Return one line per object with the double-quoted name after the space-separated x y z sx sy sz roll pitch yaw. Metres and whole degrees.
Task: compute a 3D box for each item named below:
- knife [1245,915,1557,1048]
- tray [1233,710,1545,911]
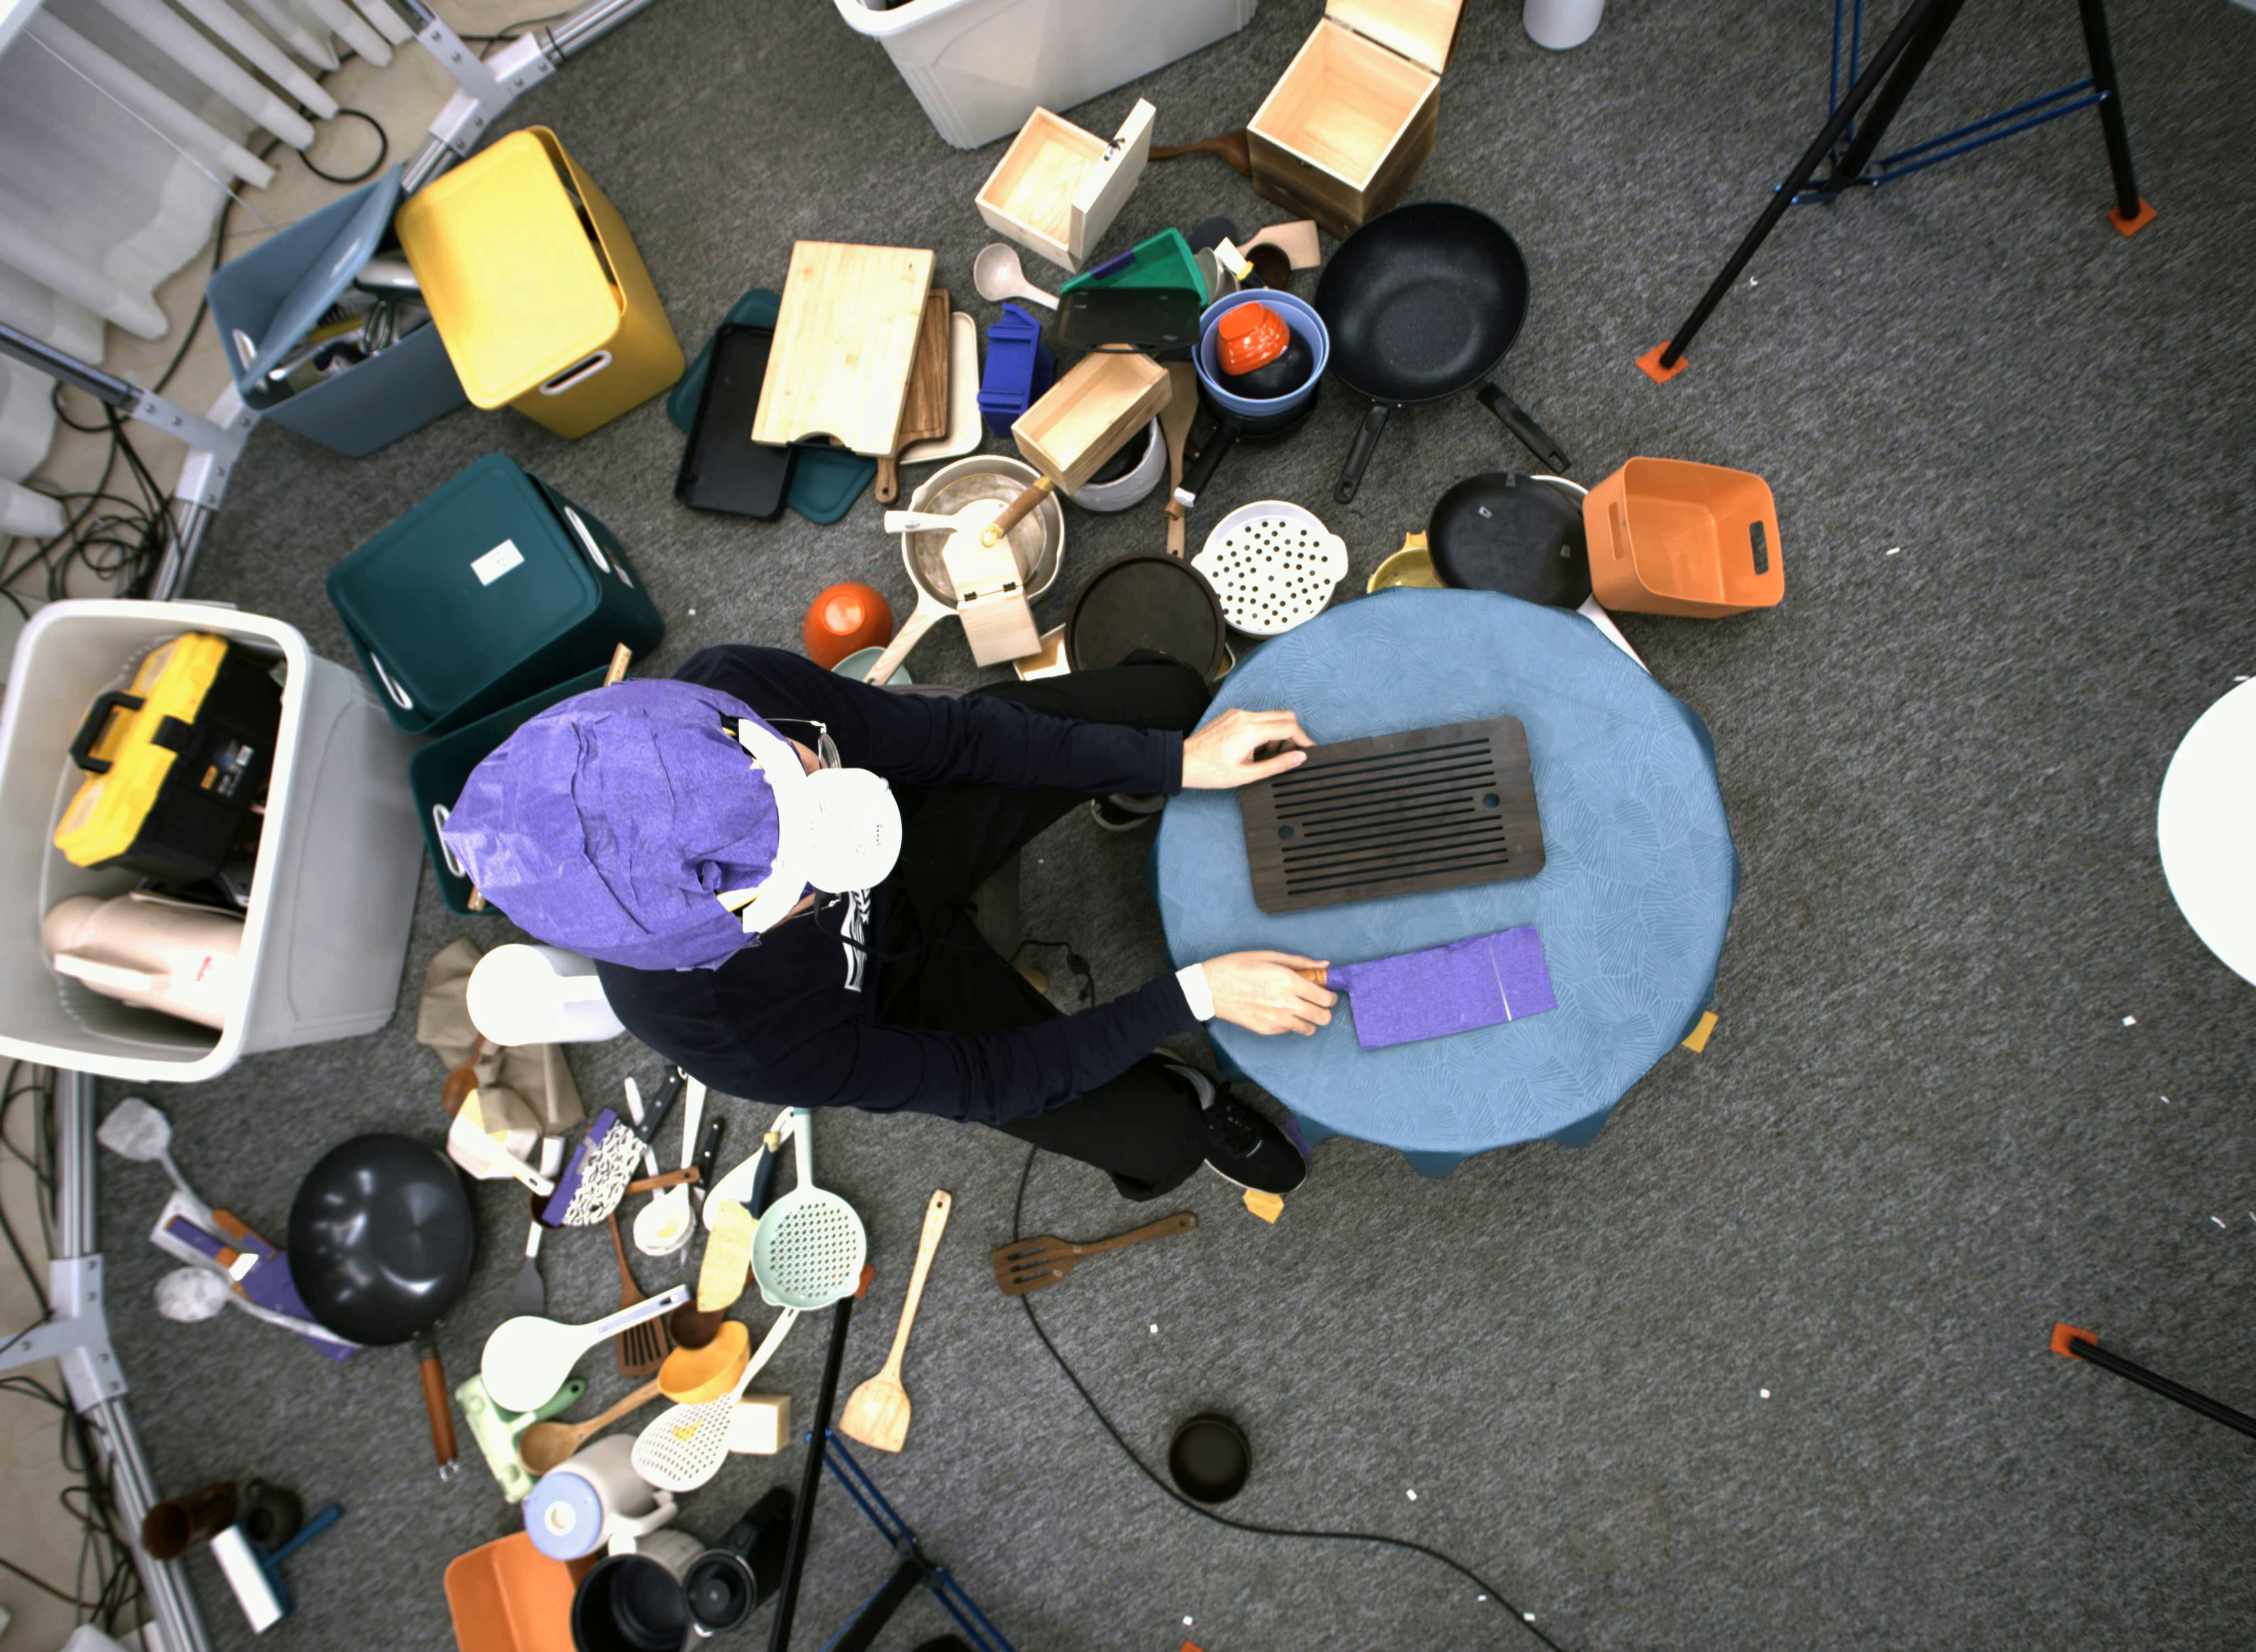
0.283 0.175 1.434 0.317 0.032 0.103 -14 85 8 "knife"
0.272 -0.016 1.449 0.307 0.018 0.170 -9 89 10 "tray"
